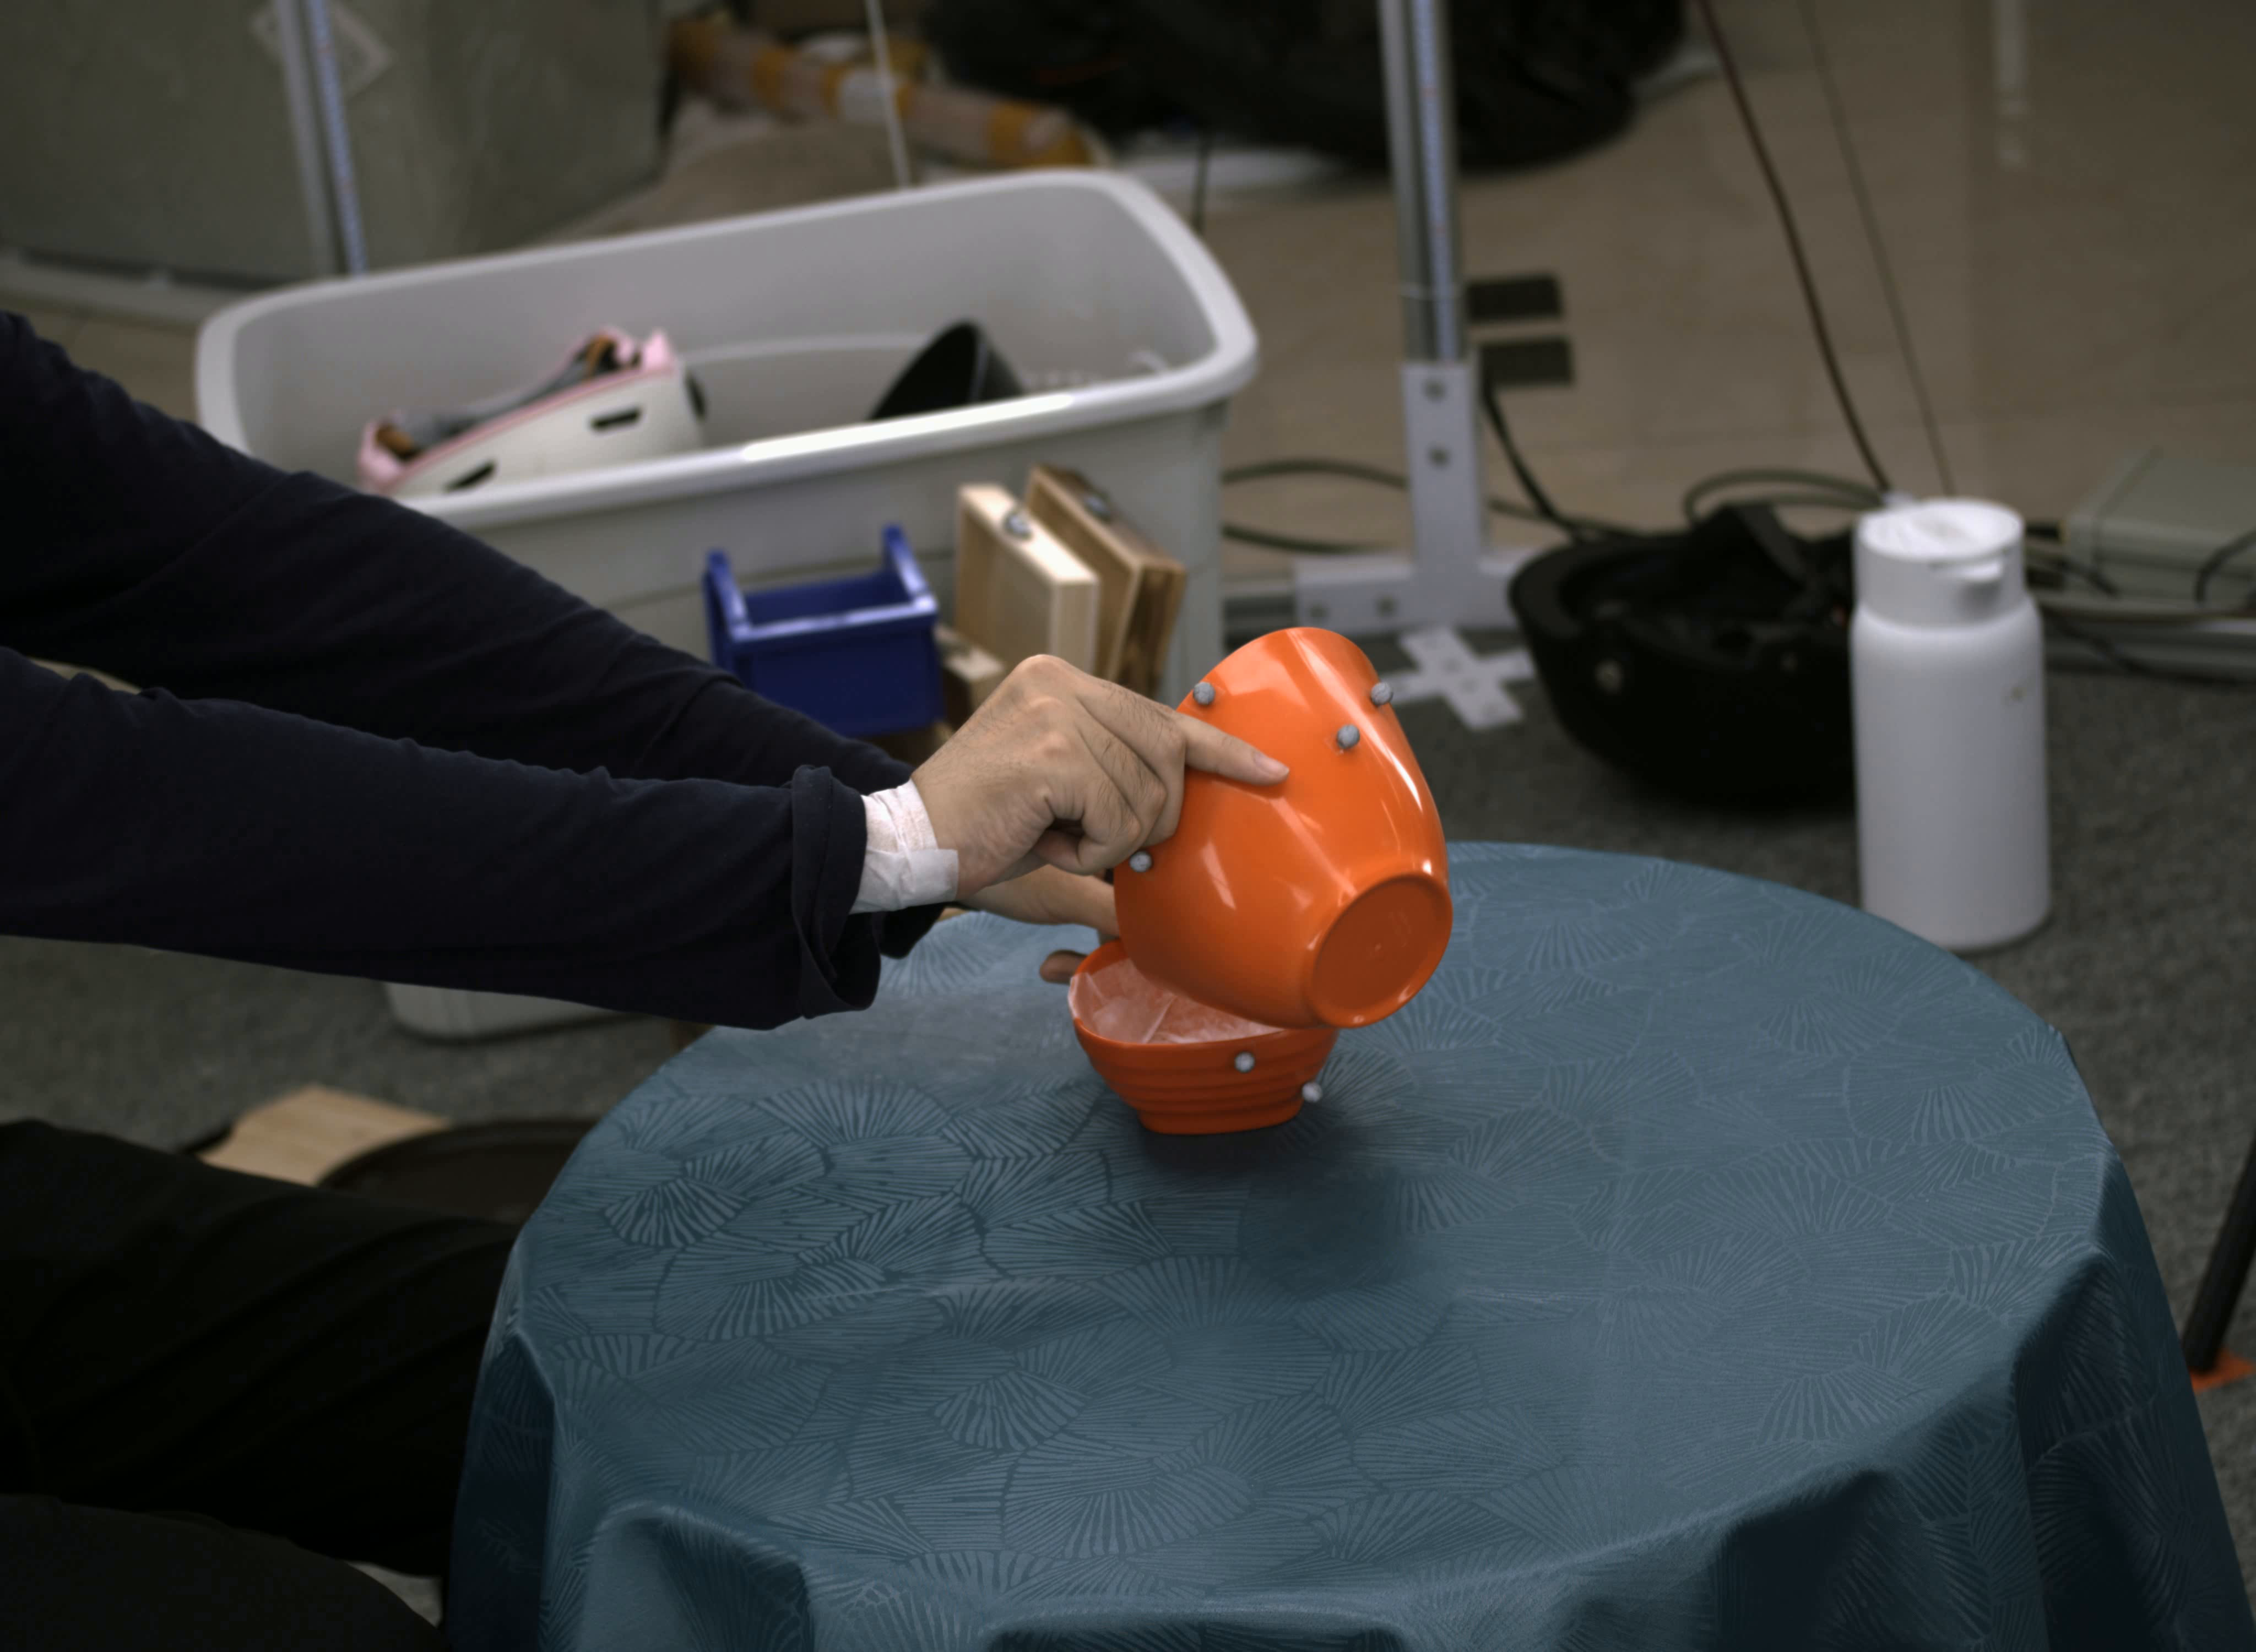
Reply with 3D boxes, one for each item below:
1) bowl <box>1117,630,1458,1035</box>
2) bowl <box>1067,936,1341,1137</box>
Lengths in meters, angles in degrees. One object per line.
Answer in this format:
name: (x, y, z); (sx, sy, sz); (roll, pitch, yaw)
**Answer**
bowl: (0.073, 0.015, 2.098); (0.147, 0.151, 0.103); (-22, 43, -30)
bowl: (0.033, 0.082, 2.206); (0.119, 0.052, 0.117); (-6, 26, 3)
